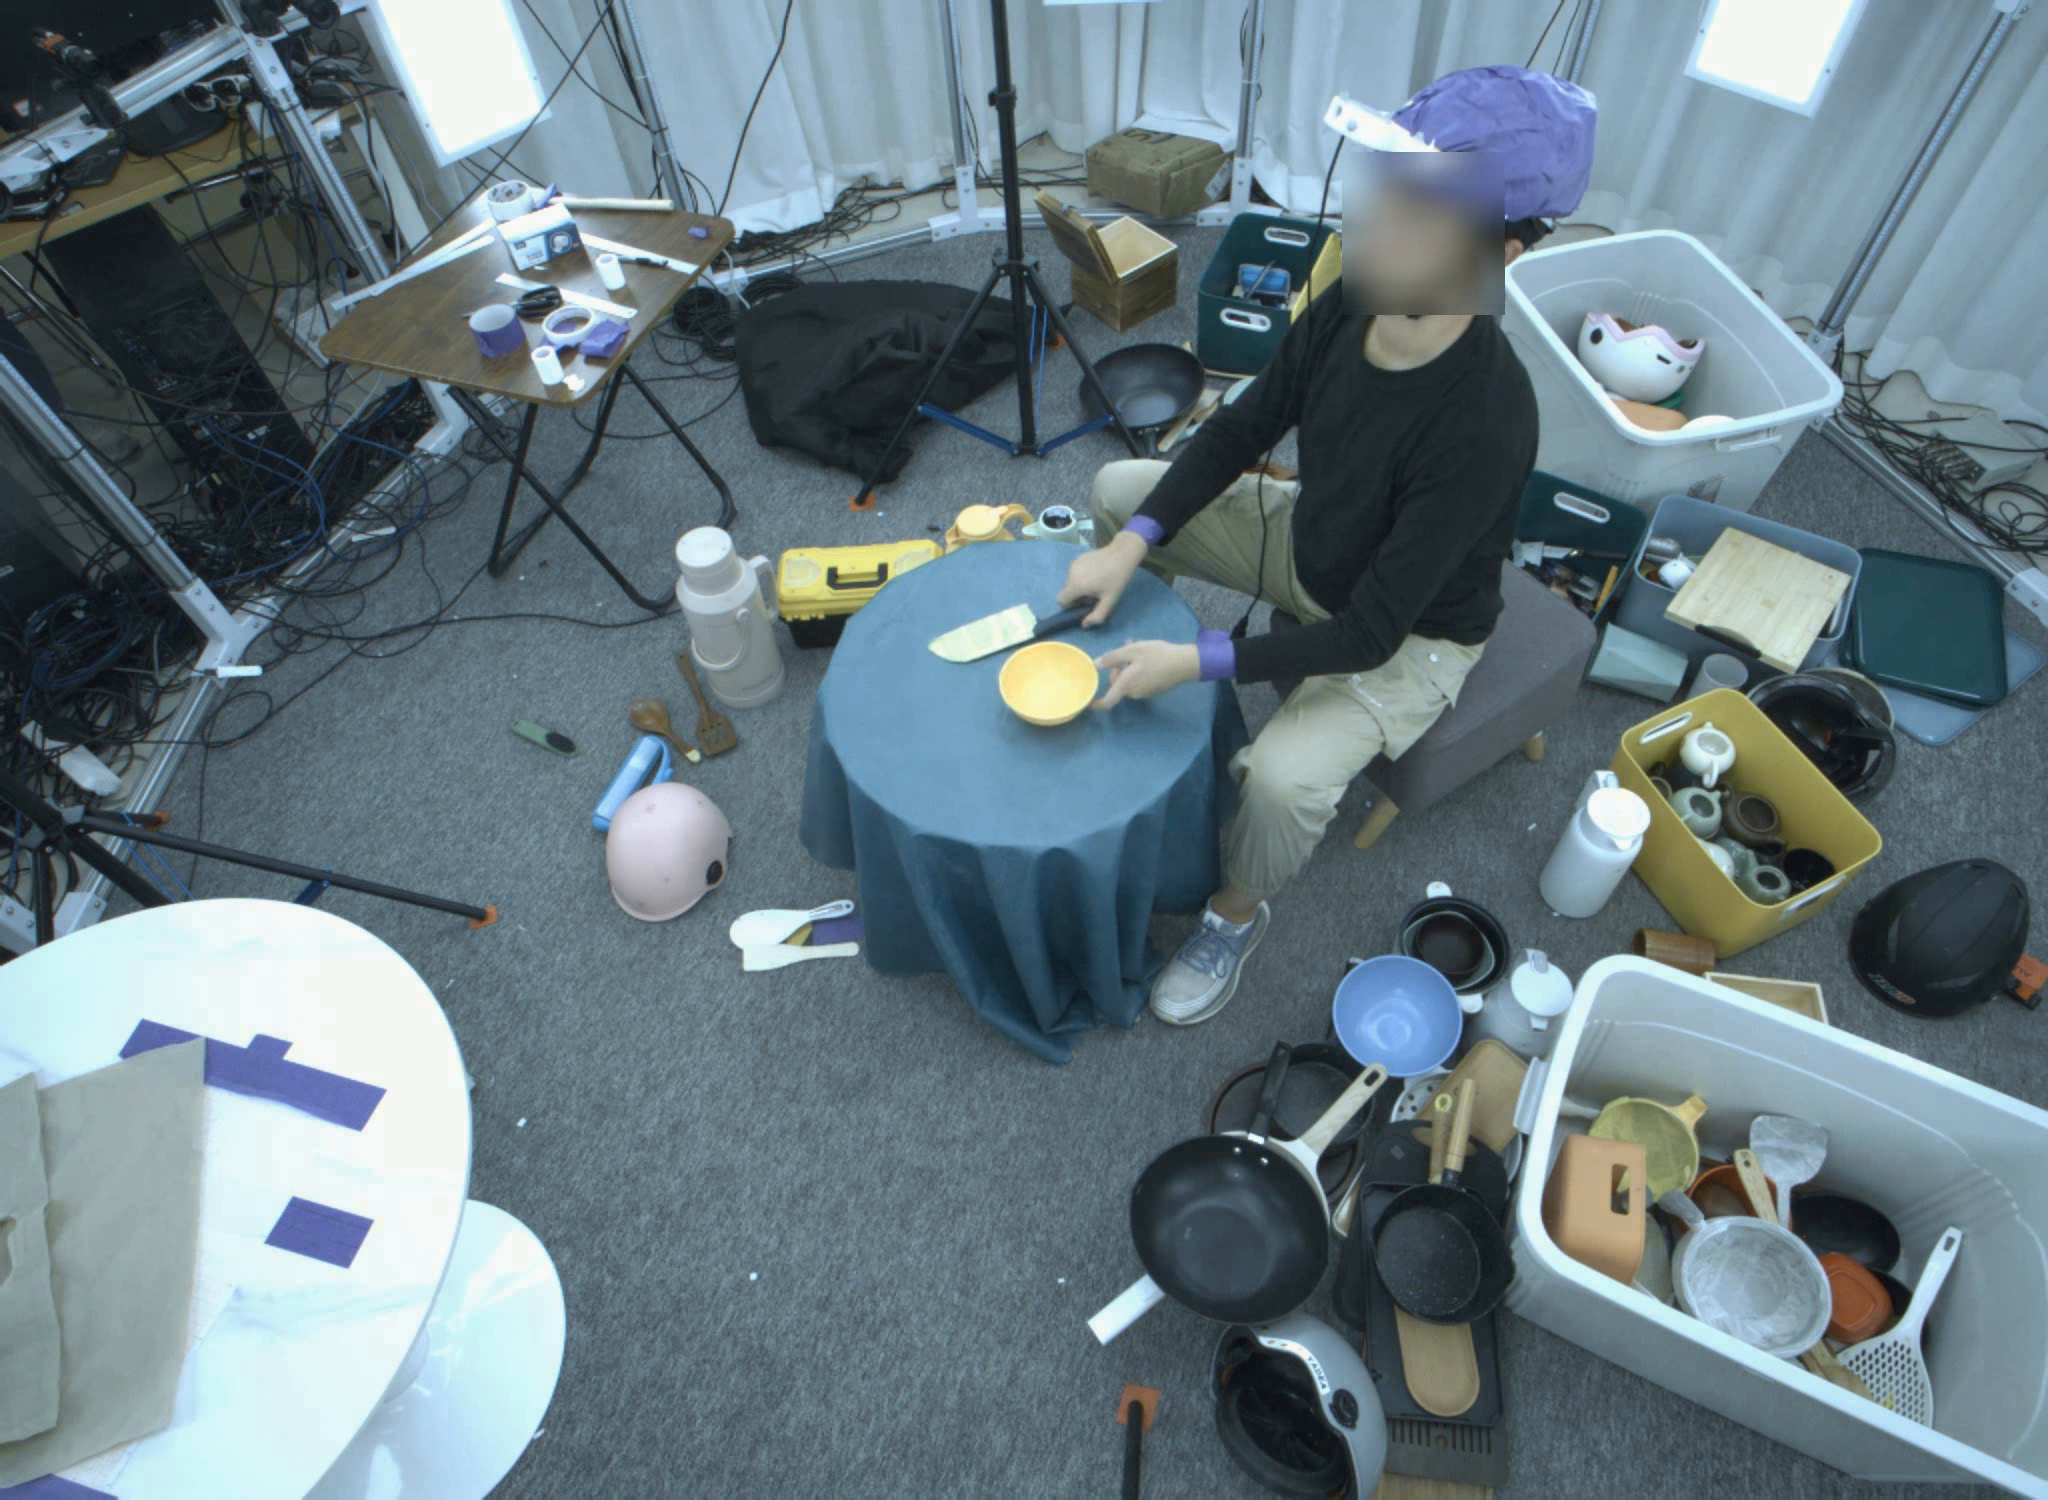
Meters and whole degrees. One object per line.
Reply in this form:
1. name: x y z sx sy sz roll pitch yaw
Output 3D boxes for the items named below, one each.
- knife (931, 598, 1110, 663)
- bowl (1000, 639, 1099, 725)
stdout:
1. knife: -0.006 -0.194 1.914 0.291 0.027 0.079 -17 57 -9
2. bowl: 0.038 -0.088 1.809 0.145 0.061 0.144 0 57 1
